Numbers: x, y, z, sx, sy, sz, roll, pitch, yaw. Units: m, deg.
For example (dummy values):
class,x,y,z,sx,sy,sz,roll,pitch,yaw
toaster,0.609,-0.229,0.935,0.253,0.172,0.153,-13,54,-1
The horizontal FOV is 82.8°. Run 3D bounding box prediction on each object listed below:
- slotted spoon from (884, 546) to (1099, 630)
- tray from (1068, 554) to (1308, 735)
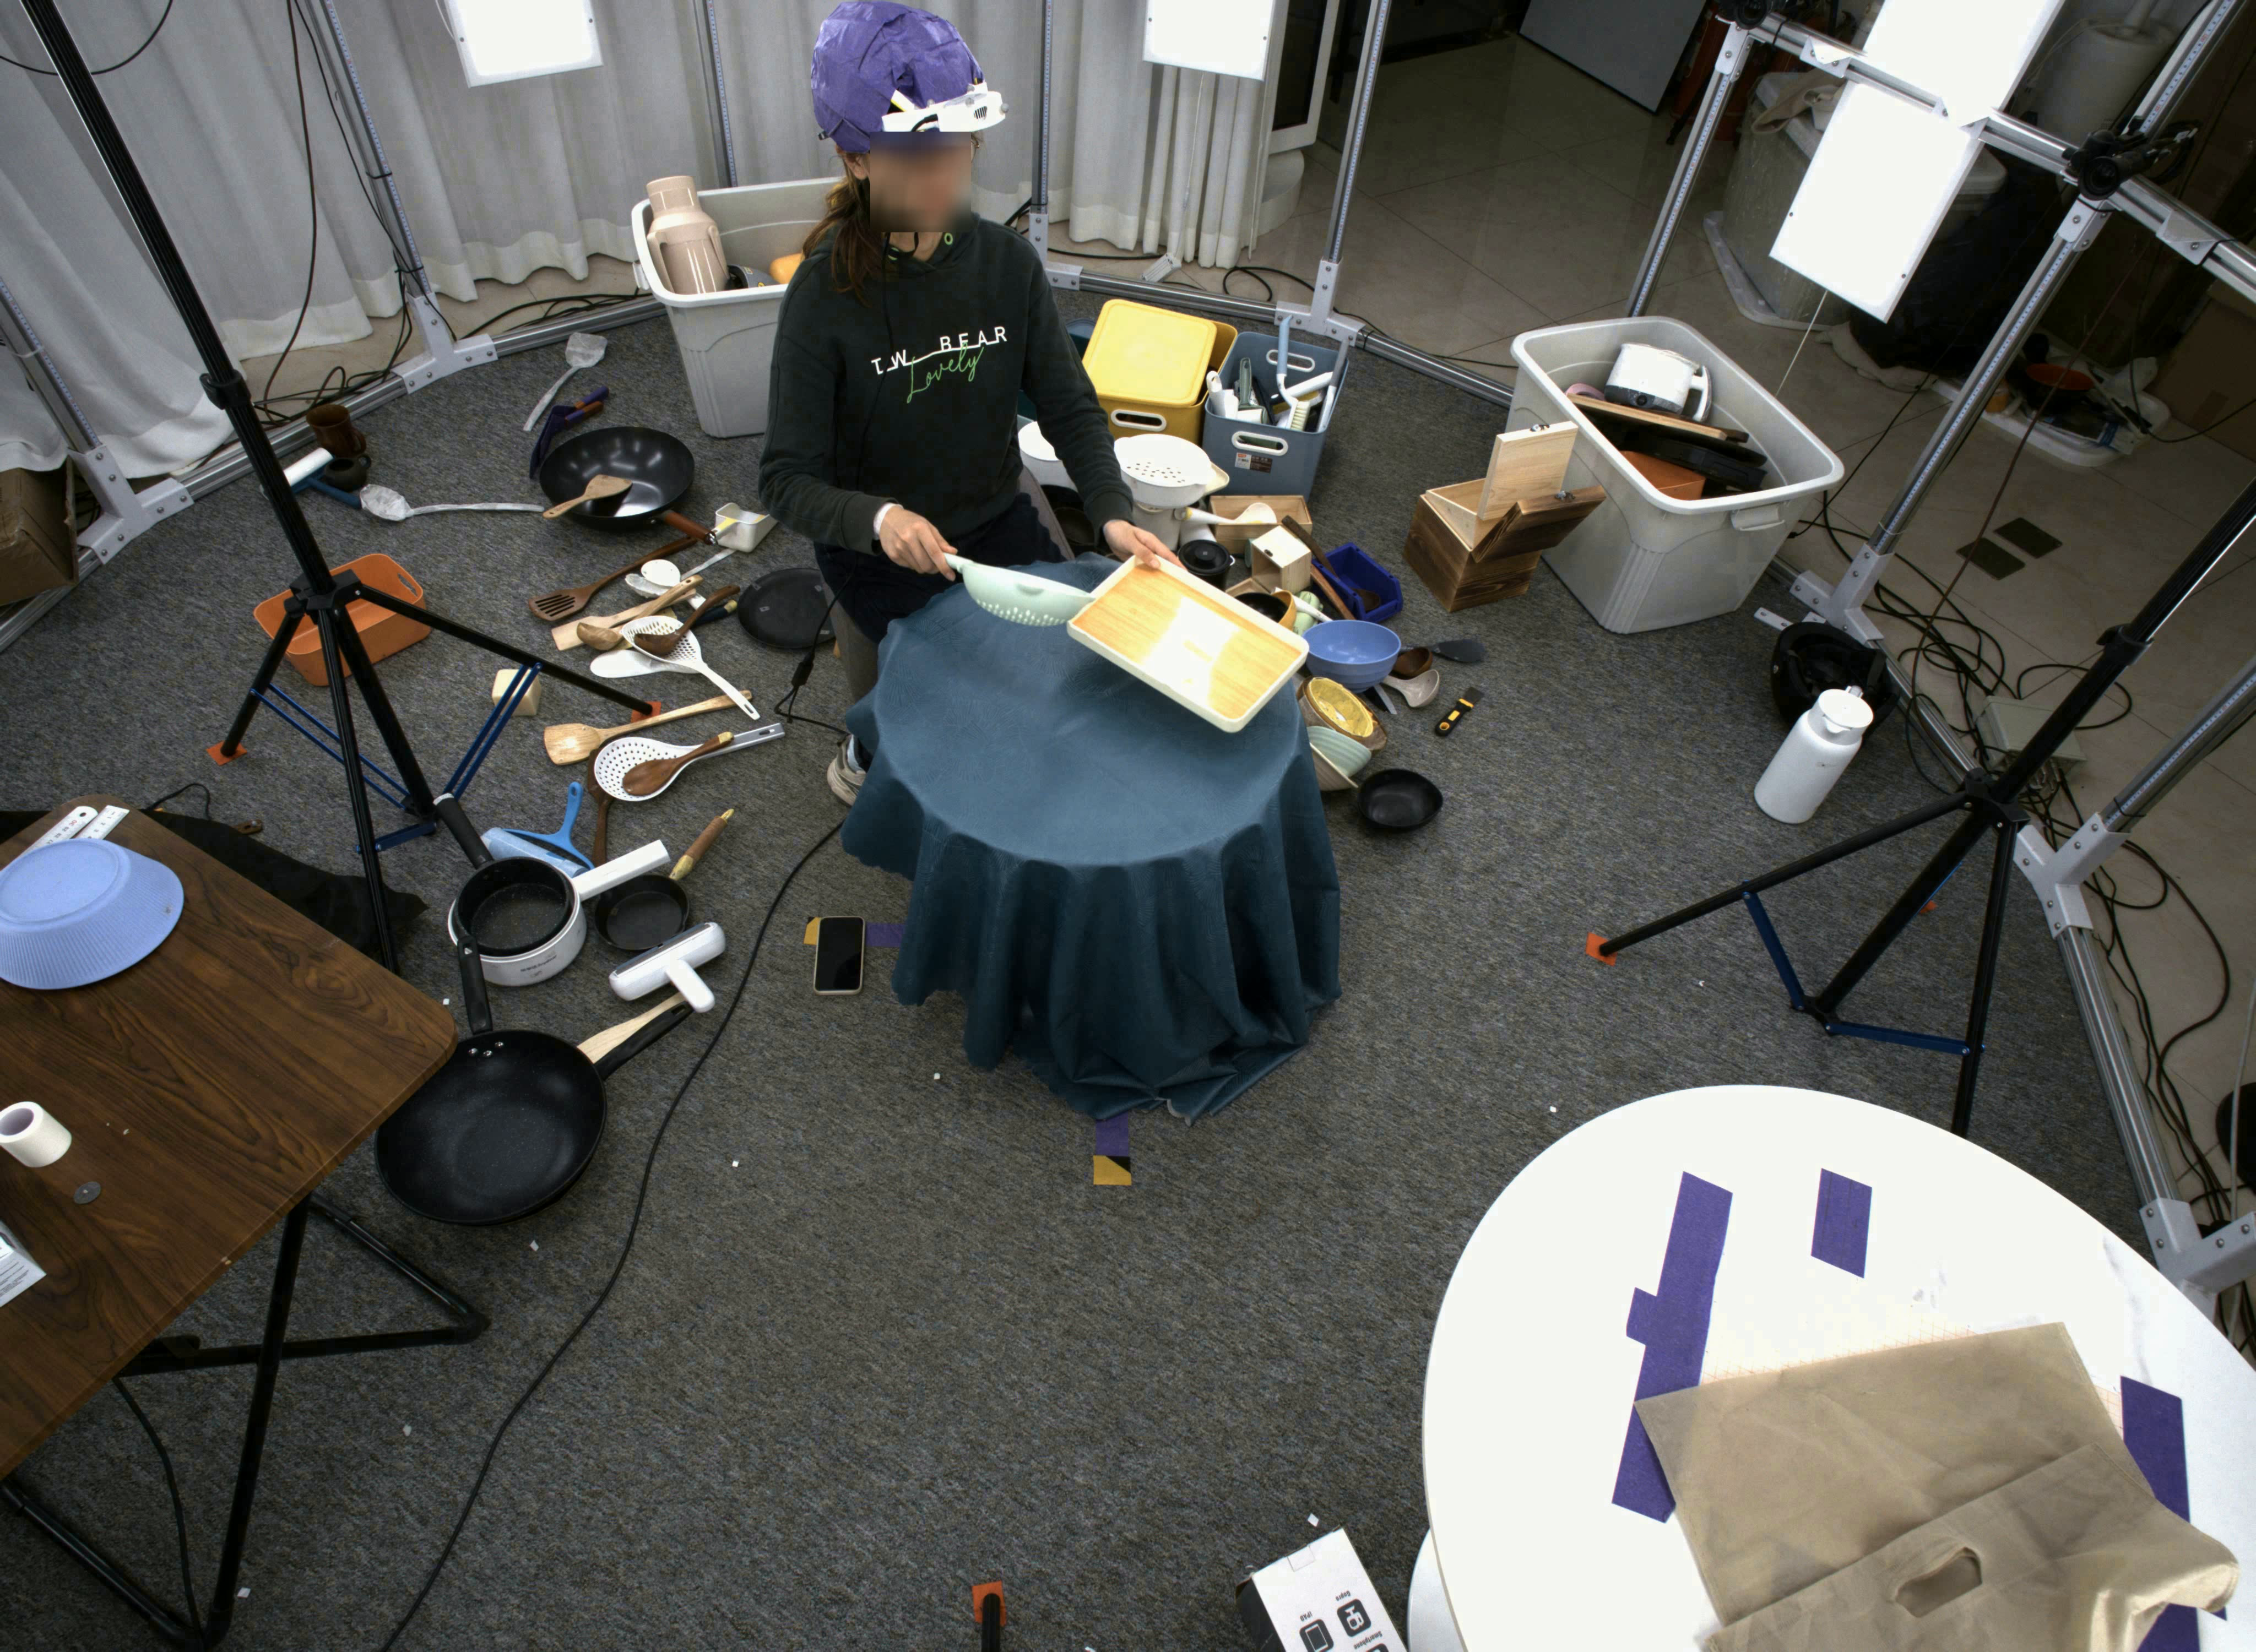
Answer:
class,x,y,z,sx,sy,sz,roll,pitch,yaw
slotted spoon,-0.205,-0.333,1.726,0.364,0.074,0.168,32,19,34
tray,0.083,-0.261,1.812,0.303,0.027,0.194,34,59,20
